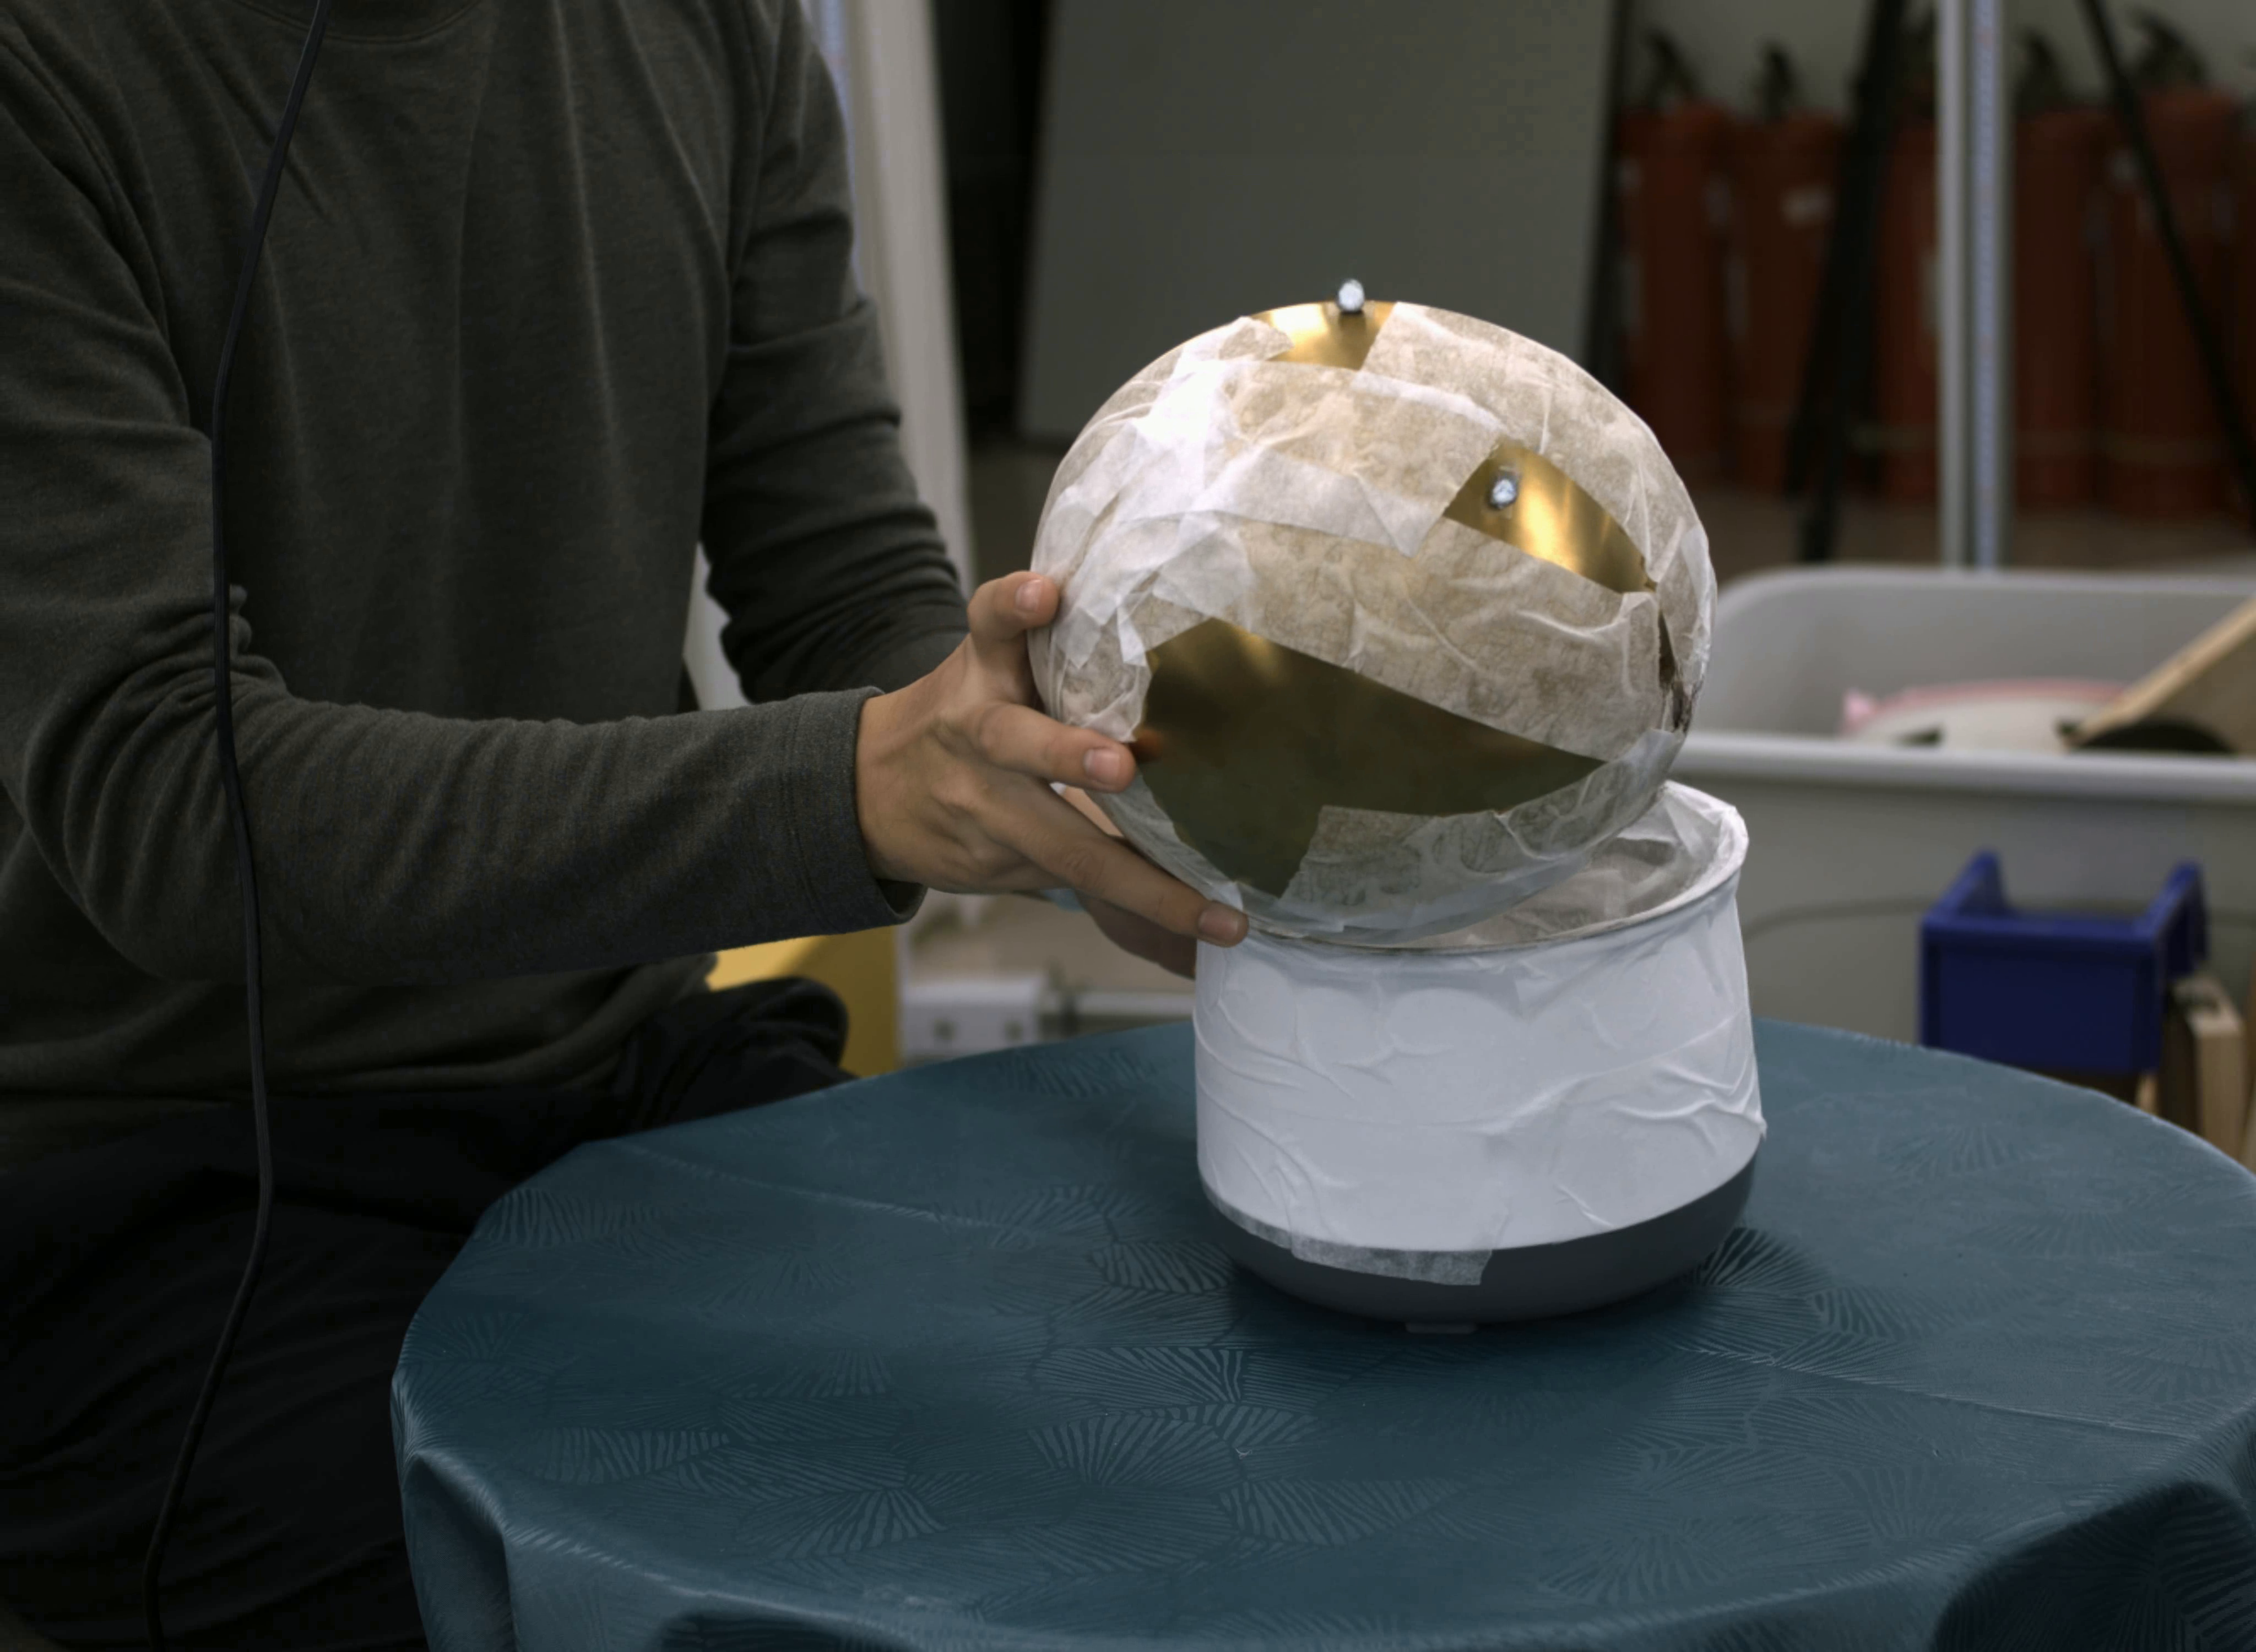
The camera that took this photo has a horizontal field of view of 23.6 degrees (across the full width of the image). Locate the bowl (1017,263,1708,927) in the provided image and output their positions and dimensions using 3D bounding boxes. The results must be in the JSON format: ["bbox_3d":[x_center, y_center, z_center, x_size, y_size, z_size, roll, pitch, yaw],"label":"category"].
[{"bbox_3d":[0.061,-0.045,1.526,0.213,0.216,0.095,-1,33,10],"label":"bowl"}]

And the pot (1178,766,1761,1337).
[{"bbox_3d":[0.092,0.060,1.682,0.175,0.138,0.236,-14,19,-28],"label":"pot"}]
